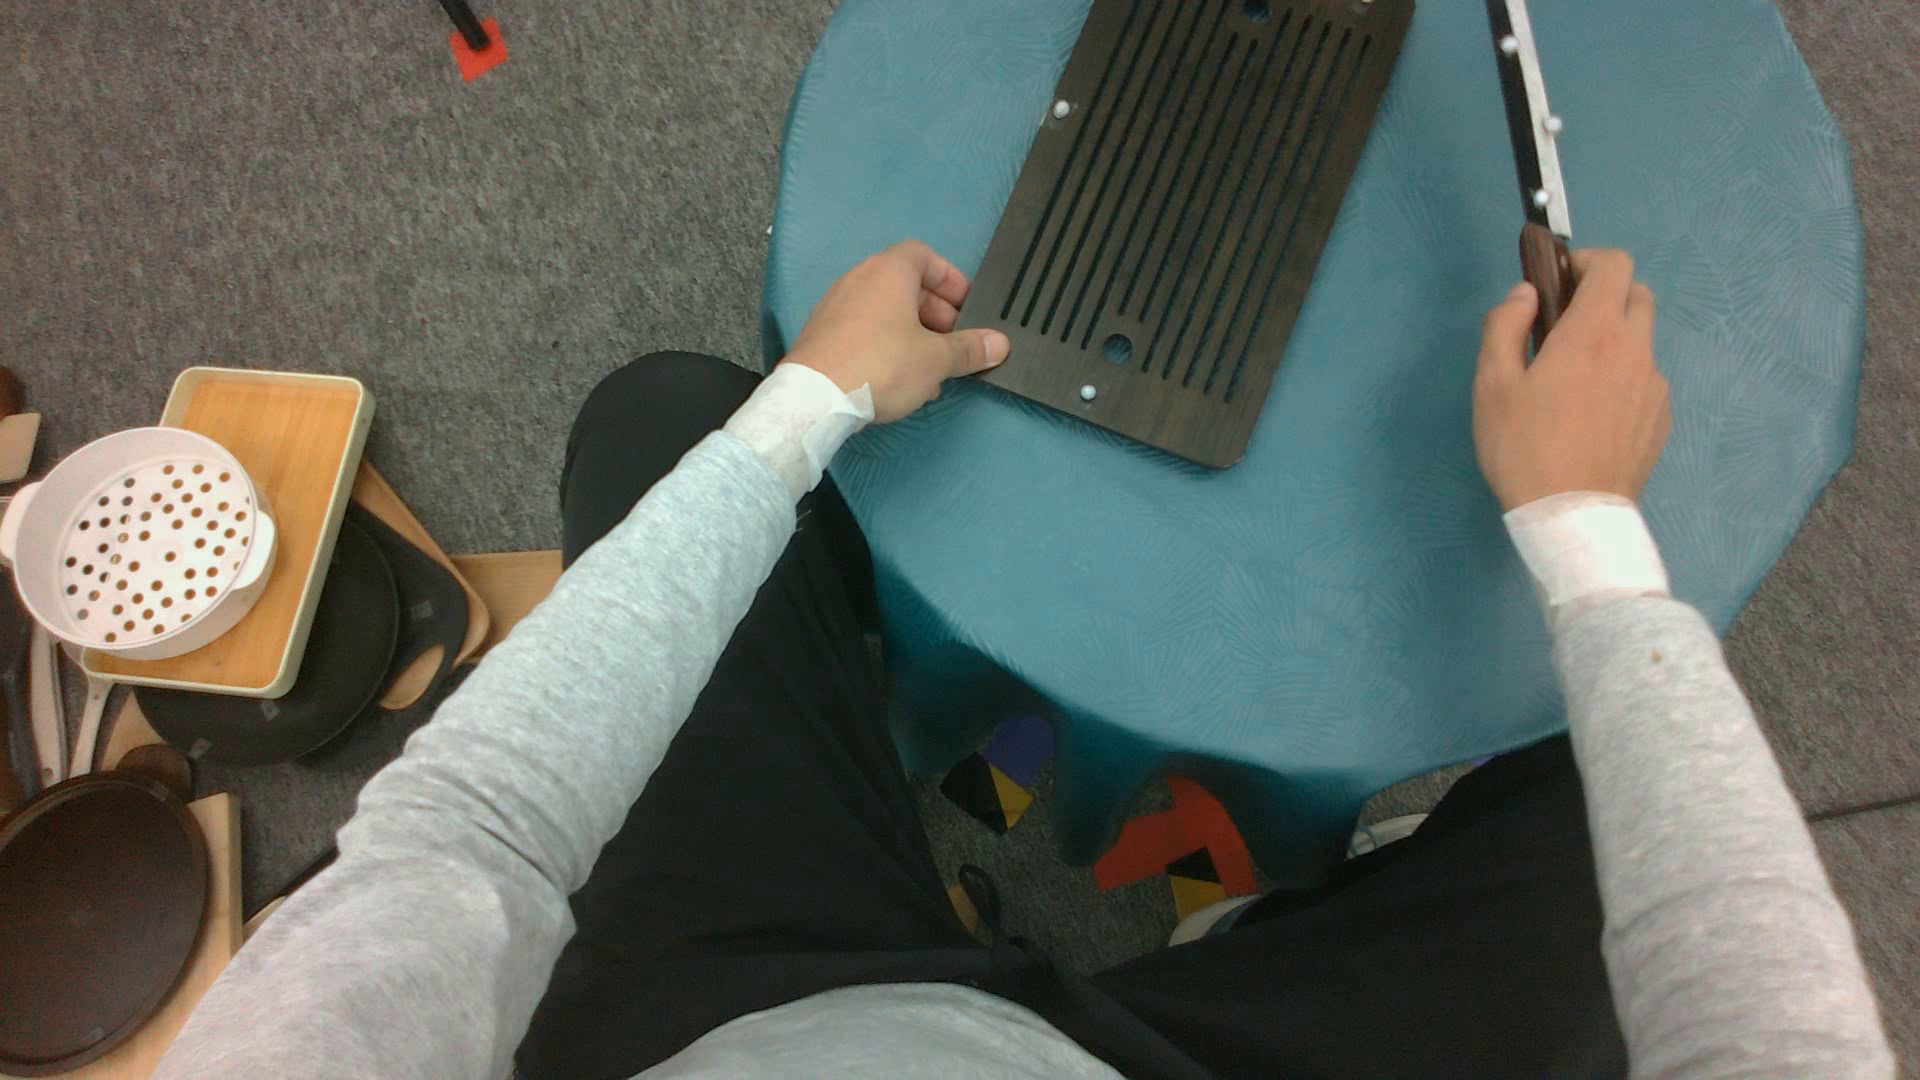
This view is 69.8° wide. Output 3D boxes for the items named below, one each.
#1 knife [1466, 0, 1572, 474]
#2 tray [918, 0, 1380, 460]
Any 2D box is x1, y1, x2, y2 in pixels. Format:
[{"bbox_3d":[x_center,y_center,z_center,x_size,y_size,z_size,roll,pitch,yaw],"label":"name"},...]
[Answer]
[{"bbox_3d":[0.284,-0.176,0.707,0.050,0.020,0.289,3,79,-40],"label":"knife"},{"bbox_3d":[0.108,-0.206,0.763,0.170,0.018,0.306,21,78,5],"label":"tray"}]
